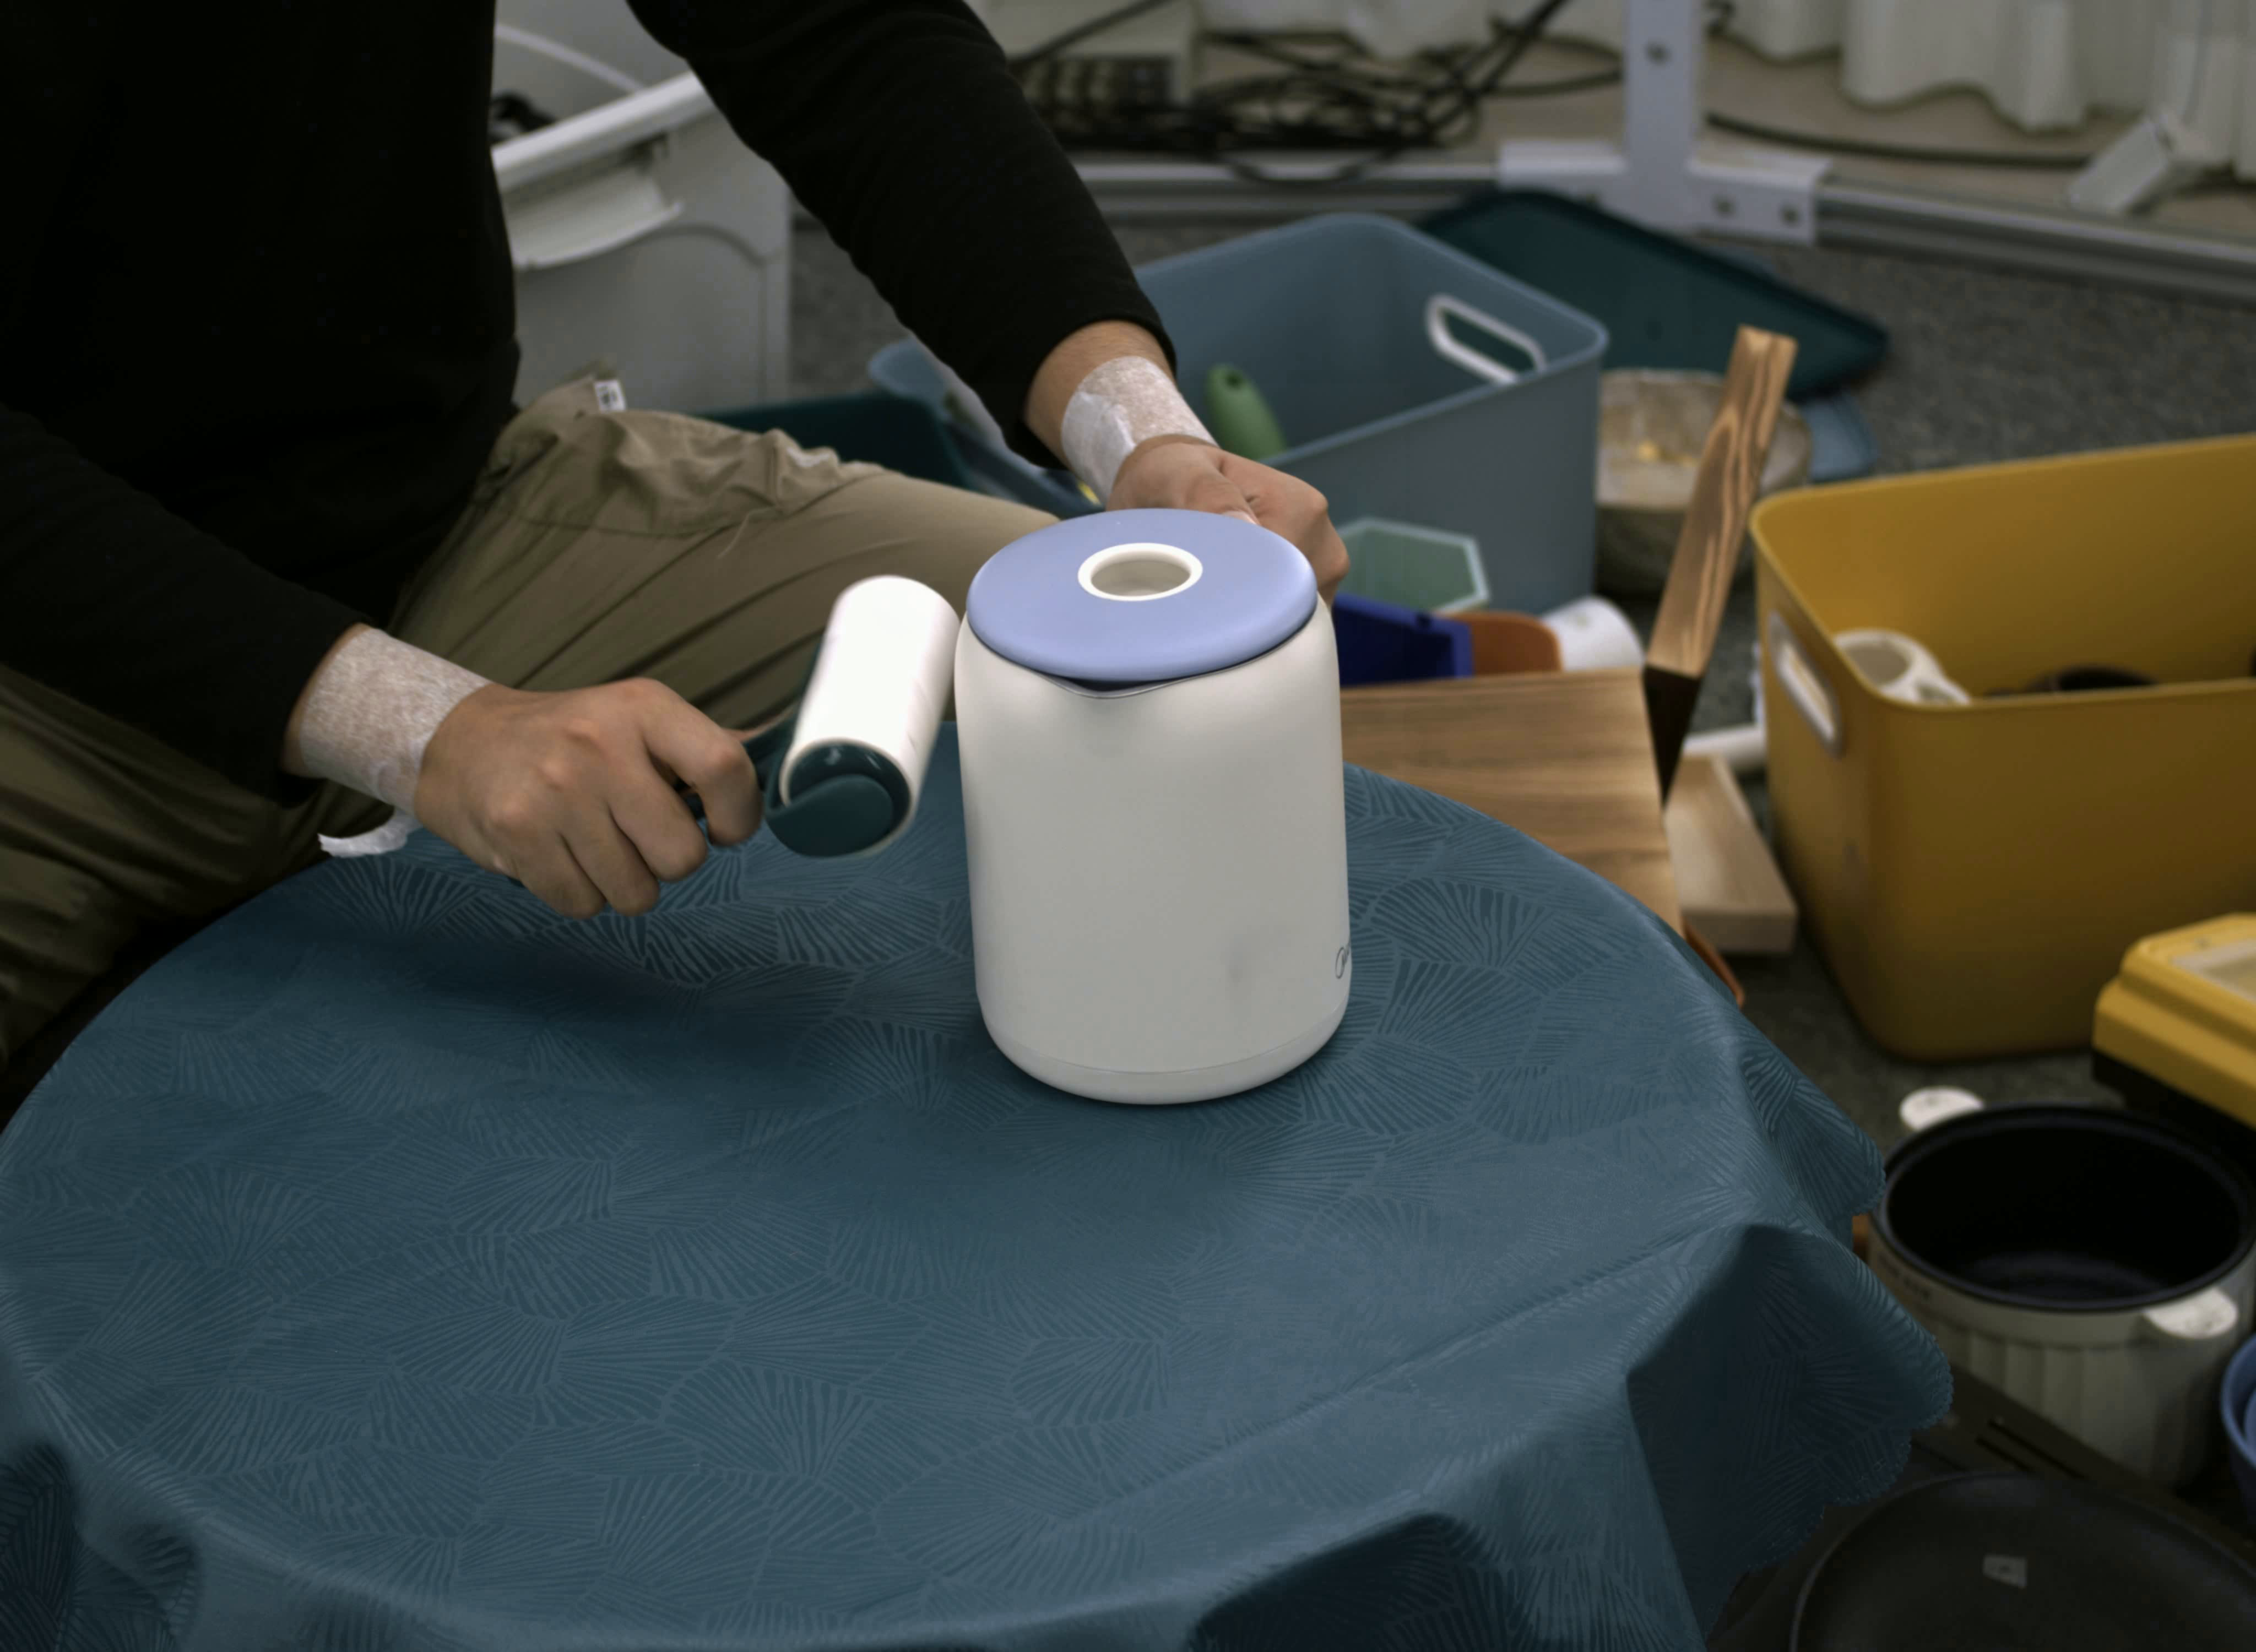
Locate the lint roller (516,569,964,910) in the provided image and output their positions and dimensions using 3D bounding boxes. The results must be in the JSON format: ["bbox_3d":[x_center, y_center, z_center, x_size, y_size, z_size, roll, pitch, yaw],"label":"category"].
[{"bbox_3d":[-0.146,-0.017,1.960,0.178,0.048,0.137,-18,30,19],"label":"lint roller"}]

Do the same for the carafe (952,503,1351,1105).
[{"bbox_3d":[0.013,-0.020,1.944,0.131,0.180,0.194,2,27,9],"label":"carafe"}]
